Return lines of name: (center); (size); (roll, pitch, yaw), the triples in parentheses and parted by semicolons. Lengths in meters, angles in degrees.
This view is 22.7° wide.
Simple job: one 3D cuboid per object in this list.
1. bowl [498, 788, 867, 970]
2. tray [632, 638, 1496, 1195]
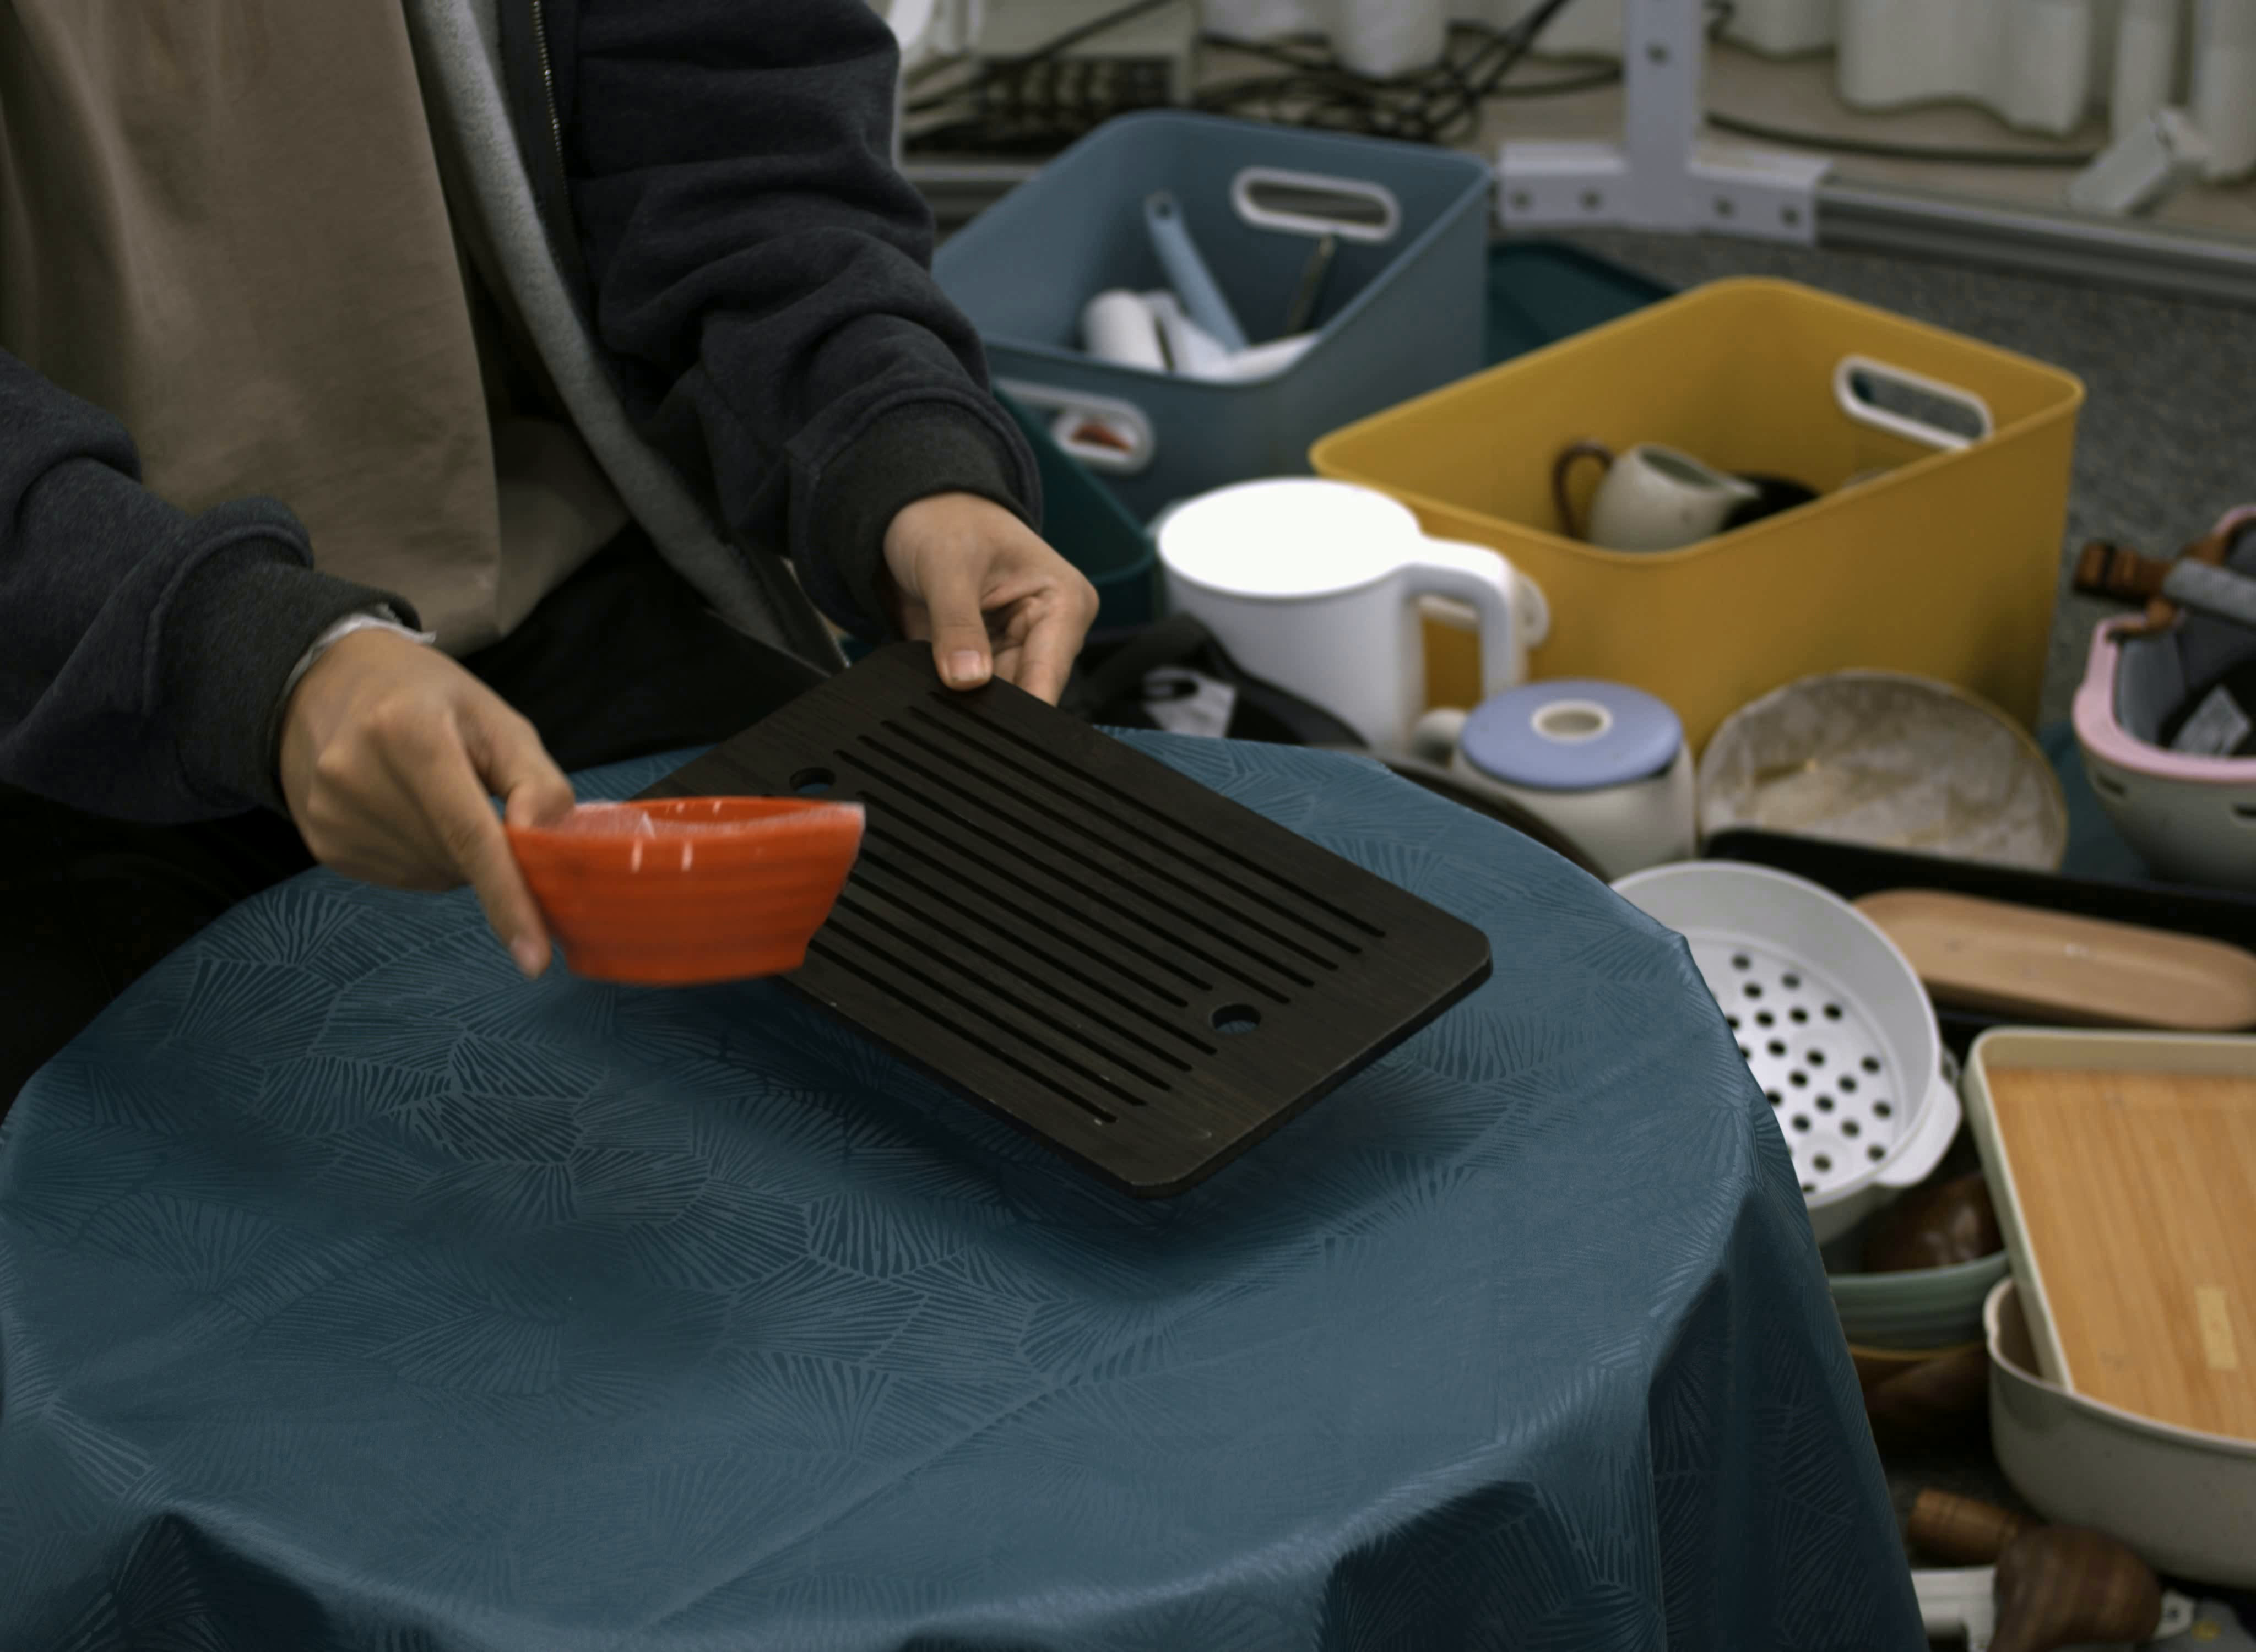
bowl: (-0.143, 0.017, 1.812); (0.118, 0.051, 0.119); (-2, 5, 1)
tray: (-0.035, 0.028, 1.942); (0.172, 0.018, 0.306); (-33, 43, -32)
